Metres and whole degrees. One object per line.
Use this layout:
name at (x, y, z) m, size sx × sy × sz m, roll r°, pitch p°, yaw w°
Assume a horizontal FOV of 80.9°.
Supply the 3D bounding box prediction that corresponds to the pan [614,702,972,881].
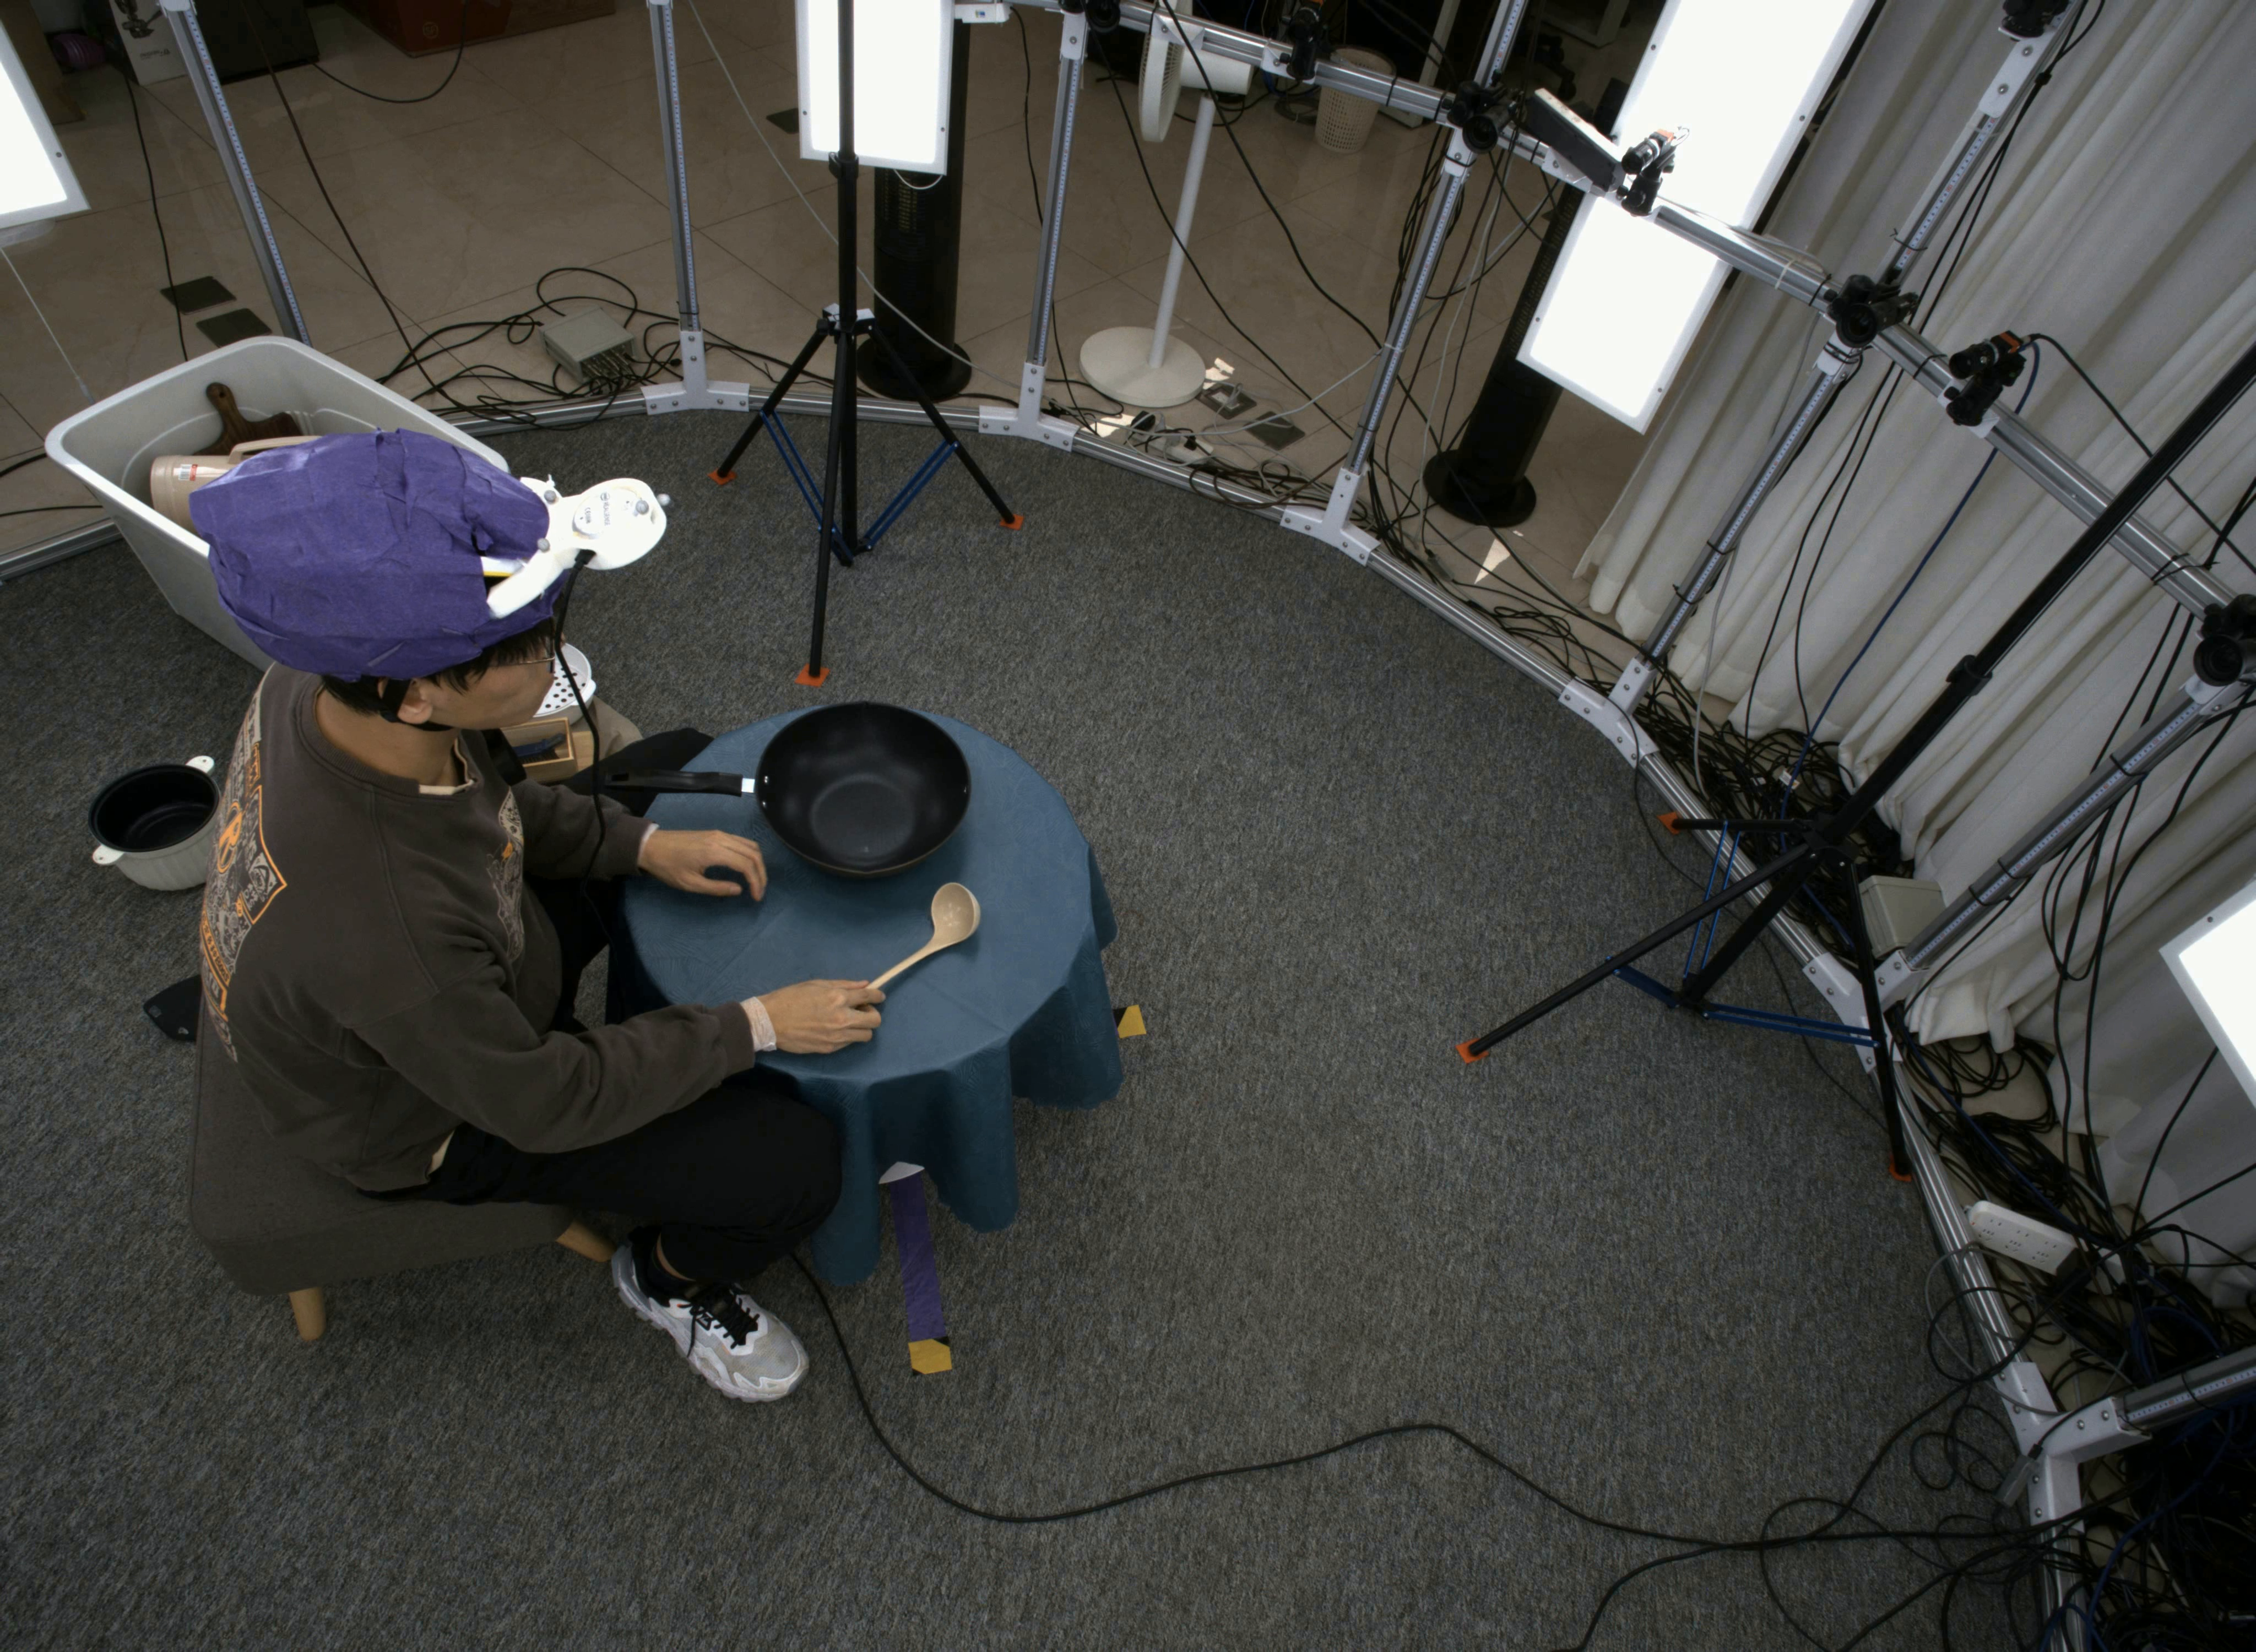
pan at (-0.437, -0.033, 1.707) m, size 0.463 × 0.089 × 0.282 m, roll 0°, pitch 54°, yaw -12°

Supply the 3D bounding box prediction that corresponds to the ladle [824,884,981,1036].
ladle at (-0.280, 0.157, 1.599) m, size 0.070 × 0.075 × 0.255 m, roll 30°, pitch 45°, yaw 23°
